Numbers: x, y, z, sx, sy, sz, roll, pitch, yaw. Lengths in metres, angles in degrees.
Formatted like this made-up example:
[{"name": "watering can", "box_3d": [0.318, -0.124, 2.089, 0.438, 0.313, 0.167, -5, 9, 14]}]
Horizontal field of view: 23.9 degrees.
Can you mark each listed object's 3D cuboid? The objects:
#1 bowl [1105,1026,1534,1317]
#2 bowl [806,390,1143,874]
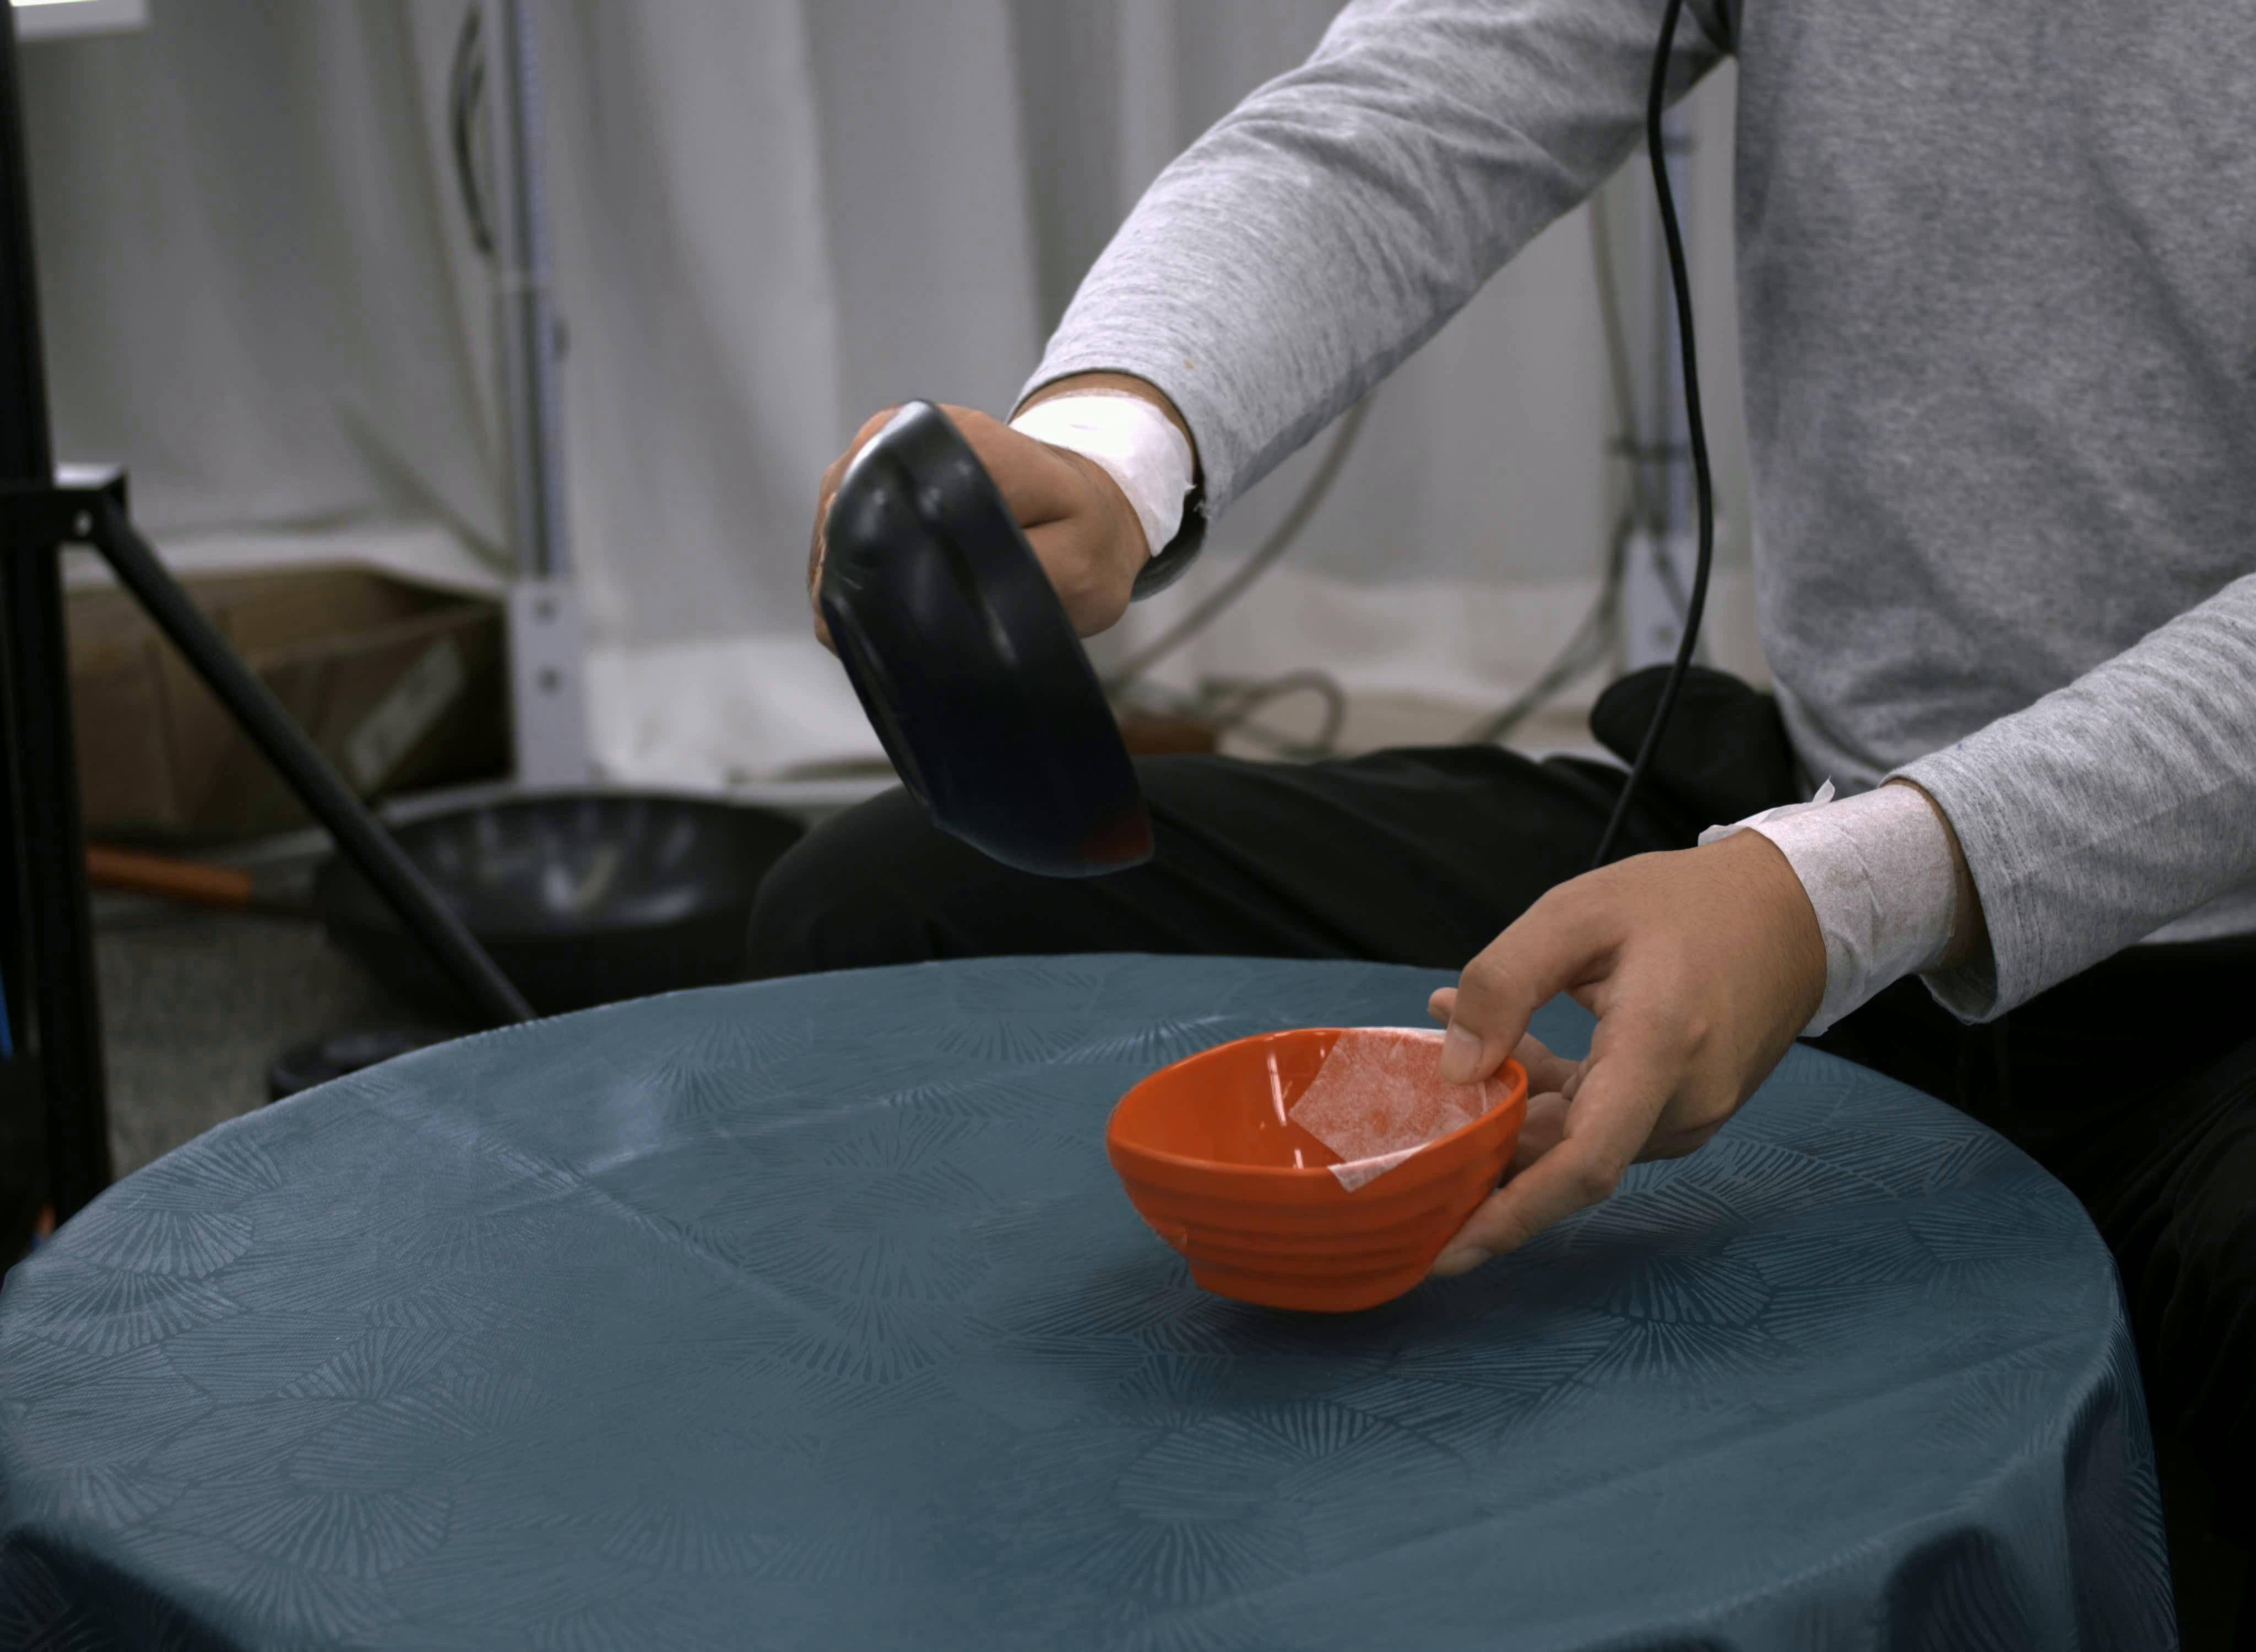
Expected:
[{"name": "bowl", "box_3d": [0.055, 0.098, 1.454, 0.118, 0.051, 0.119, -8, 16, 1]}, {"name": "bowl", "box_3d": [-0.049, -0.043, 1.424, 0.049, 0.139, 0.142, -26, 21, -10]}]
